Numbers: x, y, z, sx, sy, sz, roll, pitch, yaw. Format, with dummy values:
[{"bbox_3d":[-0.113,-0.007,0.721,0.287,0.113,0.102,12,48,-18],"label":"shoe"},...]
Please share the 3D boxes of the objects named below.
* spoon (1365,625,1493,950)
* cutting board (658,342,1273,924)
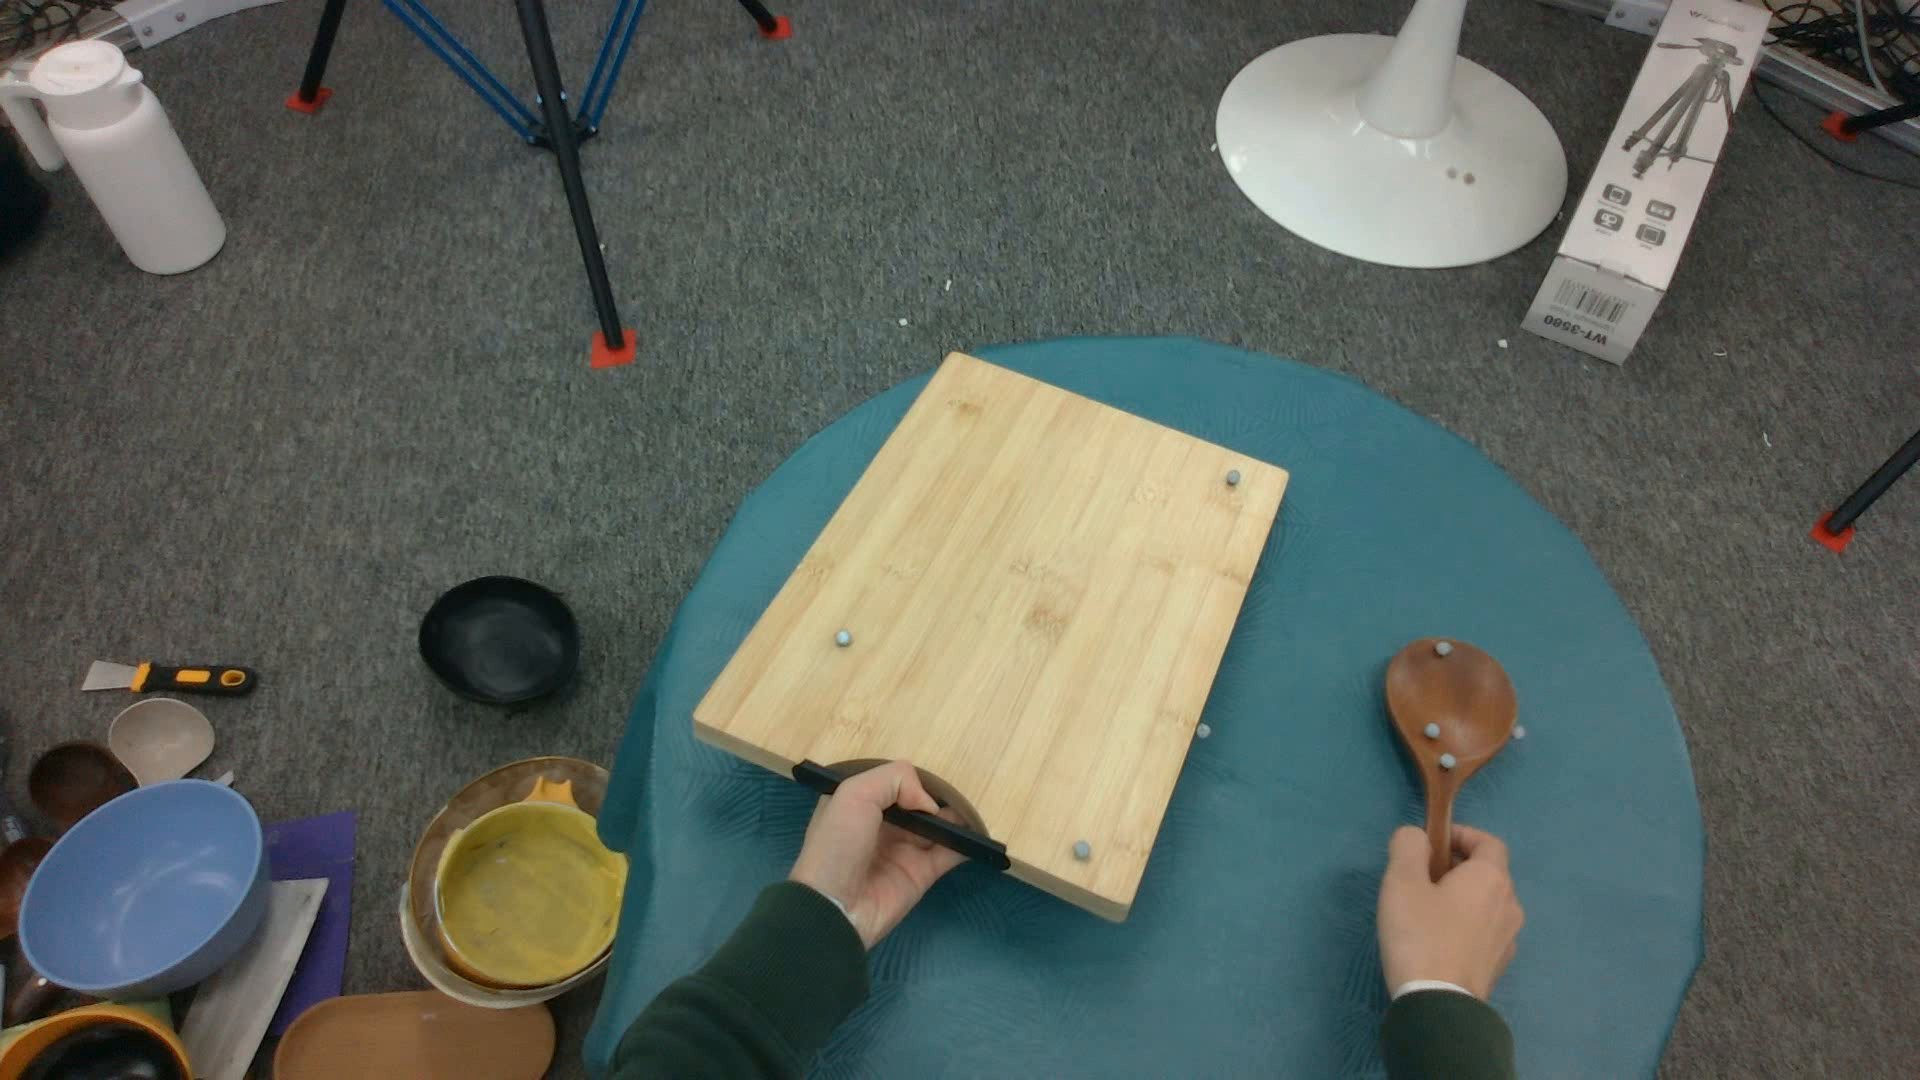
[{"bbox_3d":[0.252,0.129,0.756,0.075,0.017,0.217,17,46,7],"label":"spoon"},{"bbox_3d":[0.024,0.027,0.792,0.250,0.023,0.350,20,47,10],"label":"cutting board"}]
